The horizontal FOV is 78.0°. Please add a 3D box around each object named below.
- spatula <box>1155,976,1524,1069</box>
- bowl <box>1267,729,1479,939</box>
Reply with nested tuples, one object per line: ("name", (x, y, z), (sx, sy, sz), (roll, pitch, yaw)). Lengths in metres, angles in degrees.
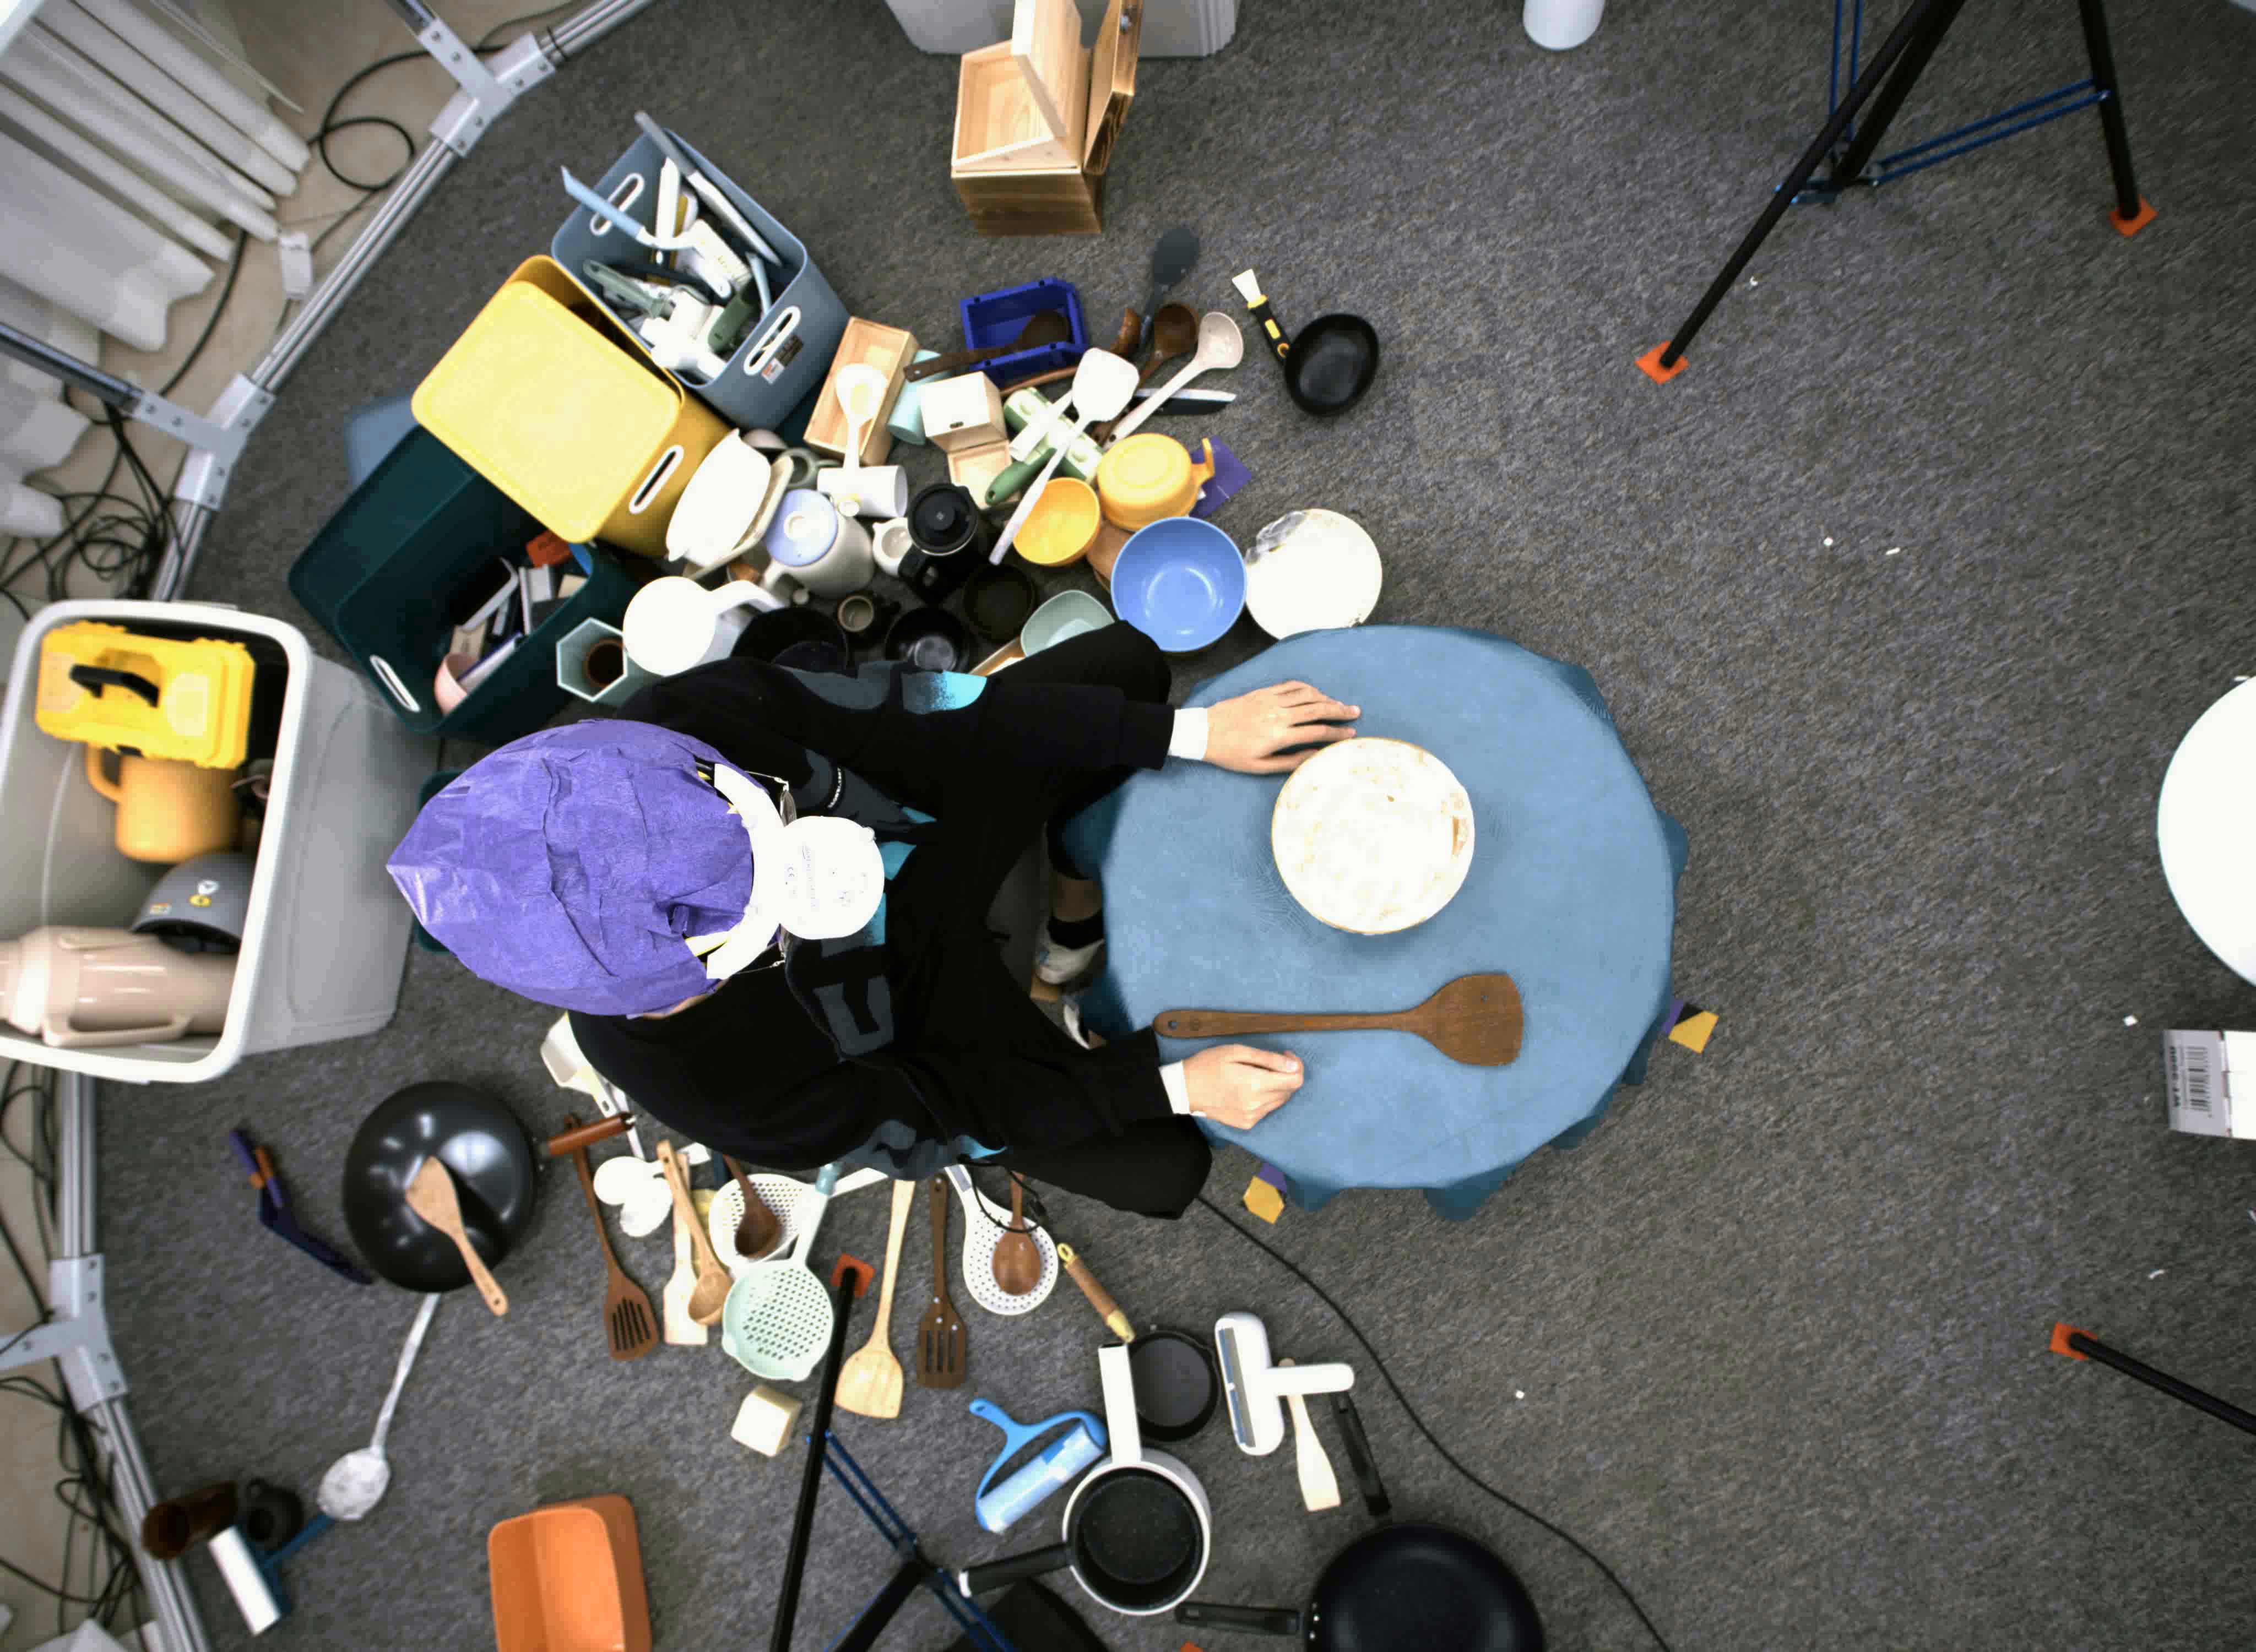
("spatula", (0.219, 0.208, 1.458), (0.387, 0.016, 0.095), (-2, 85, 10))
("bowl", (0.252, 0.011, 1.424), (0.215, 0.094, 0.214), (-1, 87, 11))
